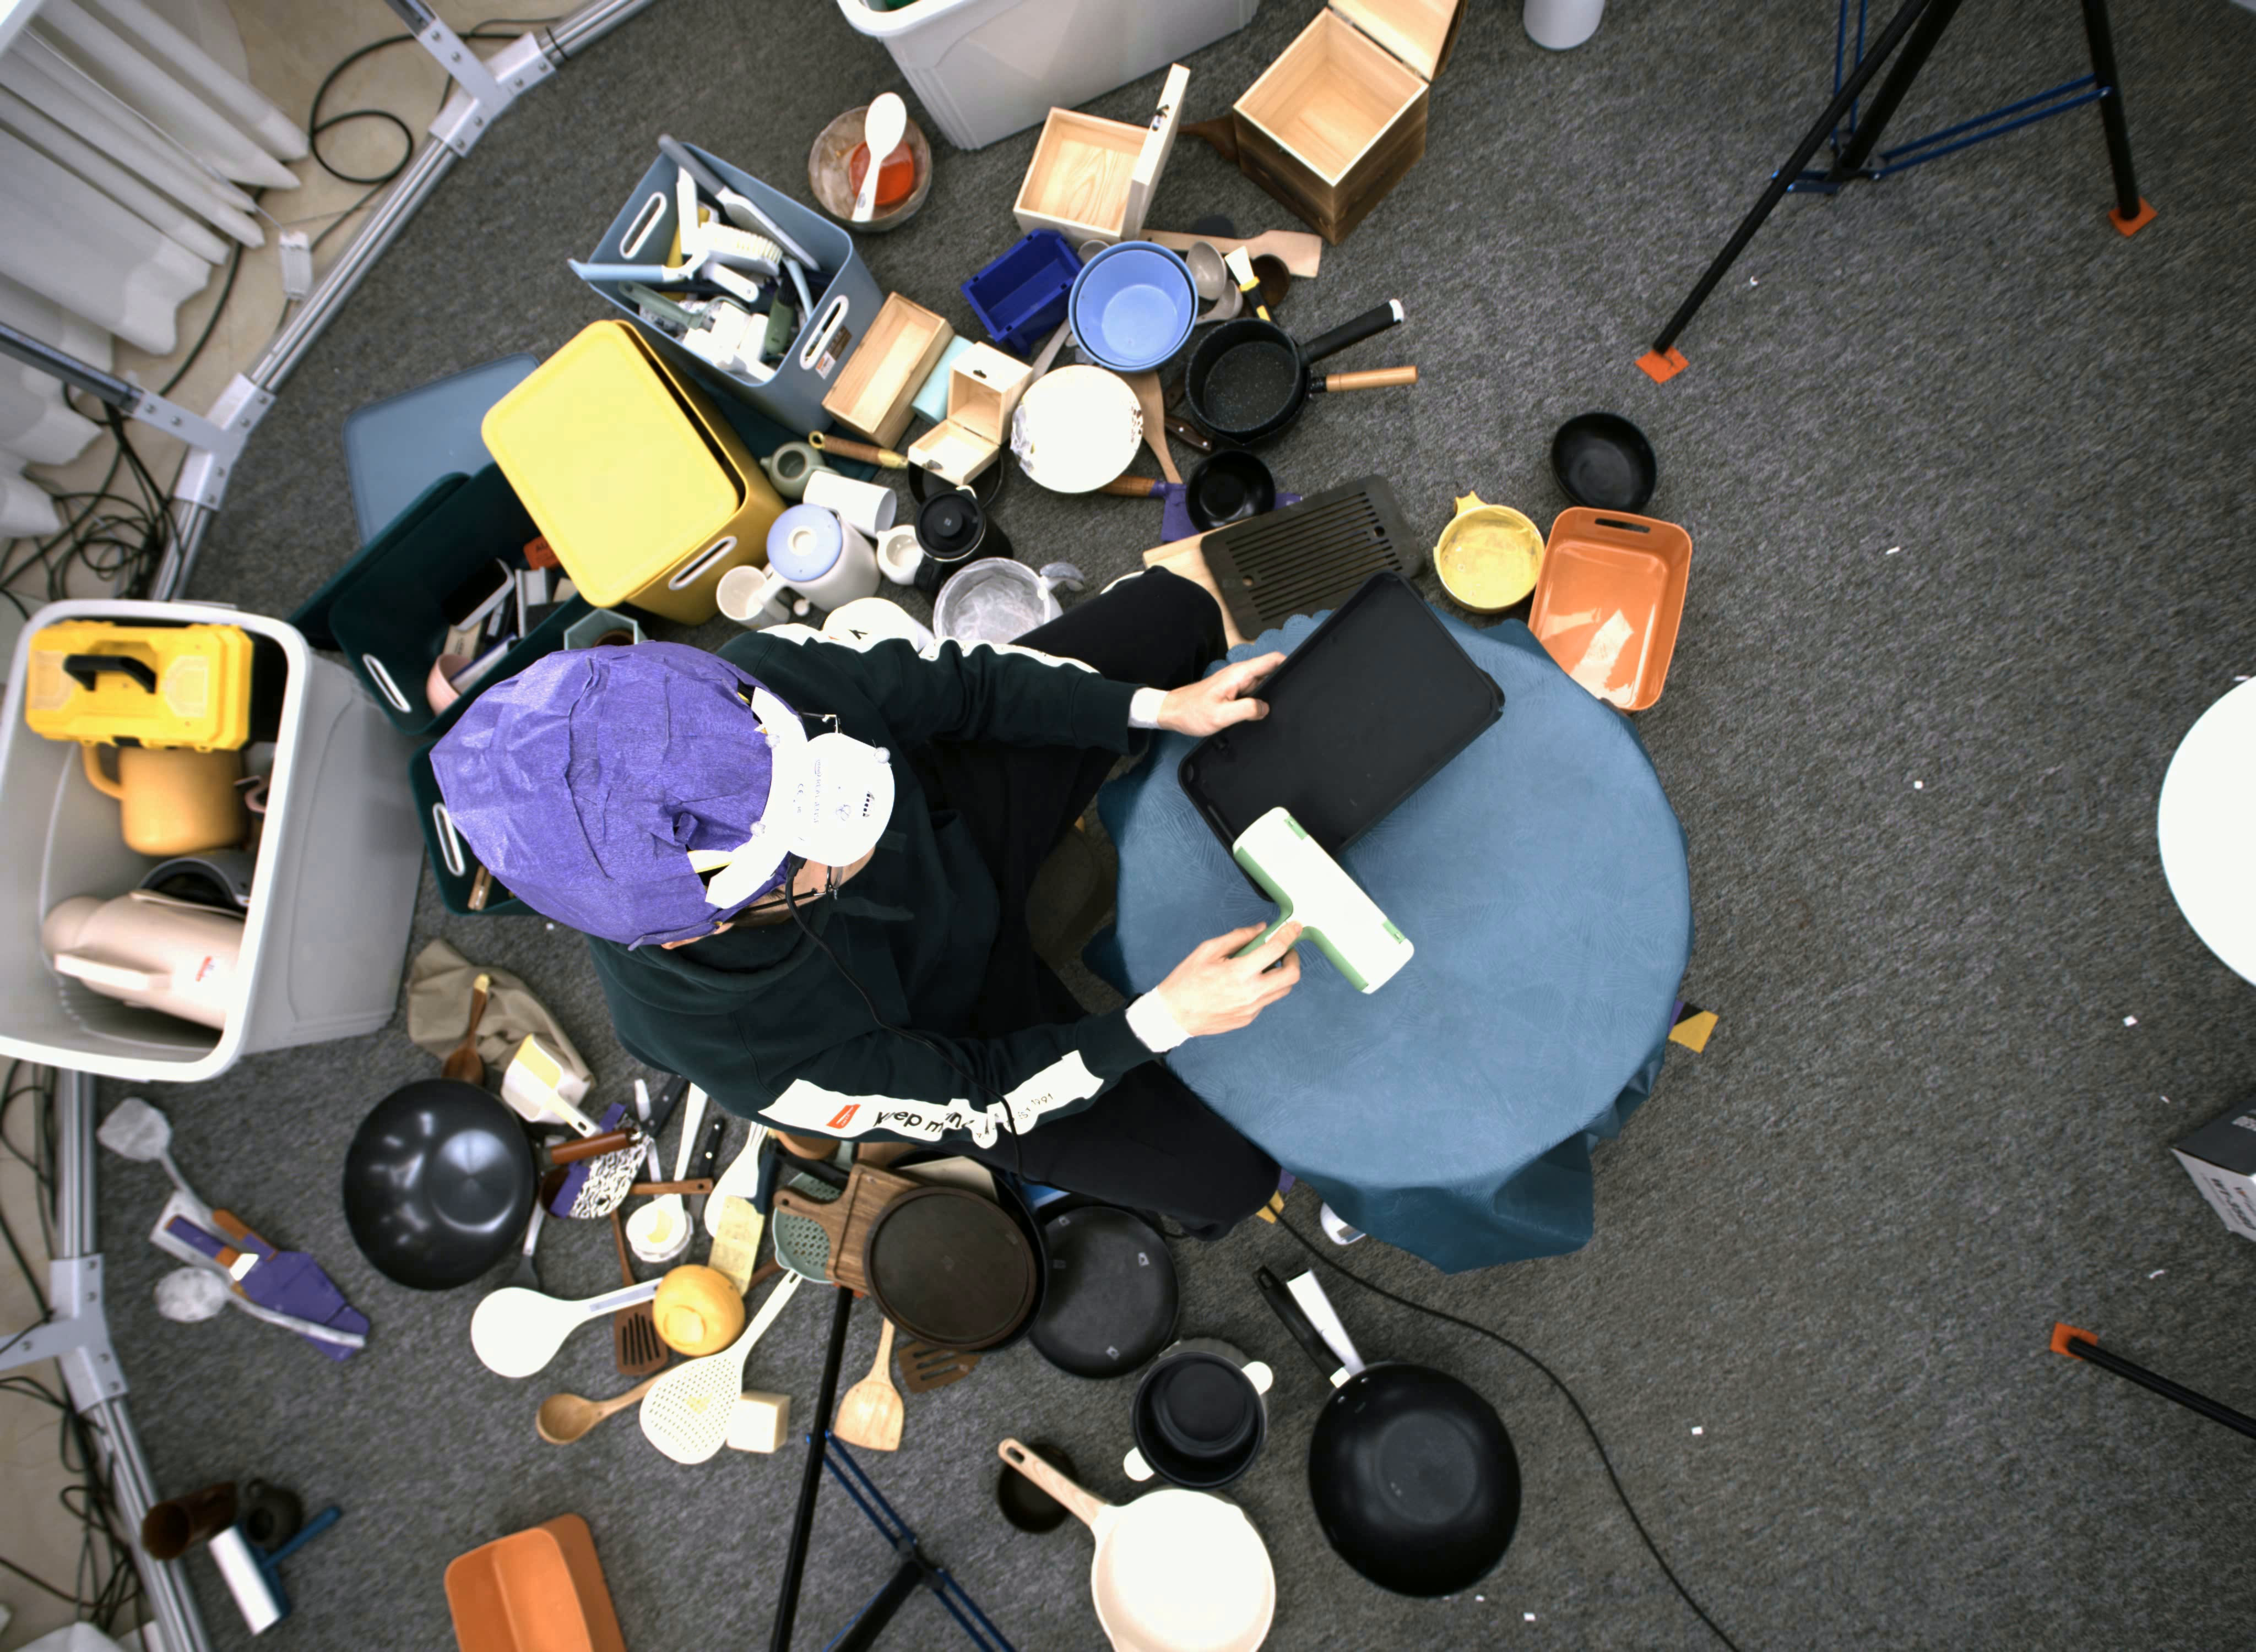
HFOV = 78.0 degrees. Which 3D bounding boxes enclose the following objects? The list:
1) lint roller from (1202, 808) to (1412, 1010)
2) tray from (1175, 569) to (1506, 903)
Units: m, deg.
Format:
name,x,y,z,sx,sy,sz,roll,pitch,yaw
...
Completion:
name,x,y,z,sx,sy,sz,roll,pitch,yaw
lint roller,0.142,0.108,1.320,0.182,0.083,0.198,-41,82,-6
tray,0.200,-0.084,1.347,0.324,0.036,0.182,-44,73,30
